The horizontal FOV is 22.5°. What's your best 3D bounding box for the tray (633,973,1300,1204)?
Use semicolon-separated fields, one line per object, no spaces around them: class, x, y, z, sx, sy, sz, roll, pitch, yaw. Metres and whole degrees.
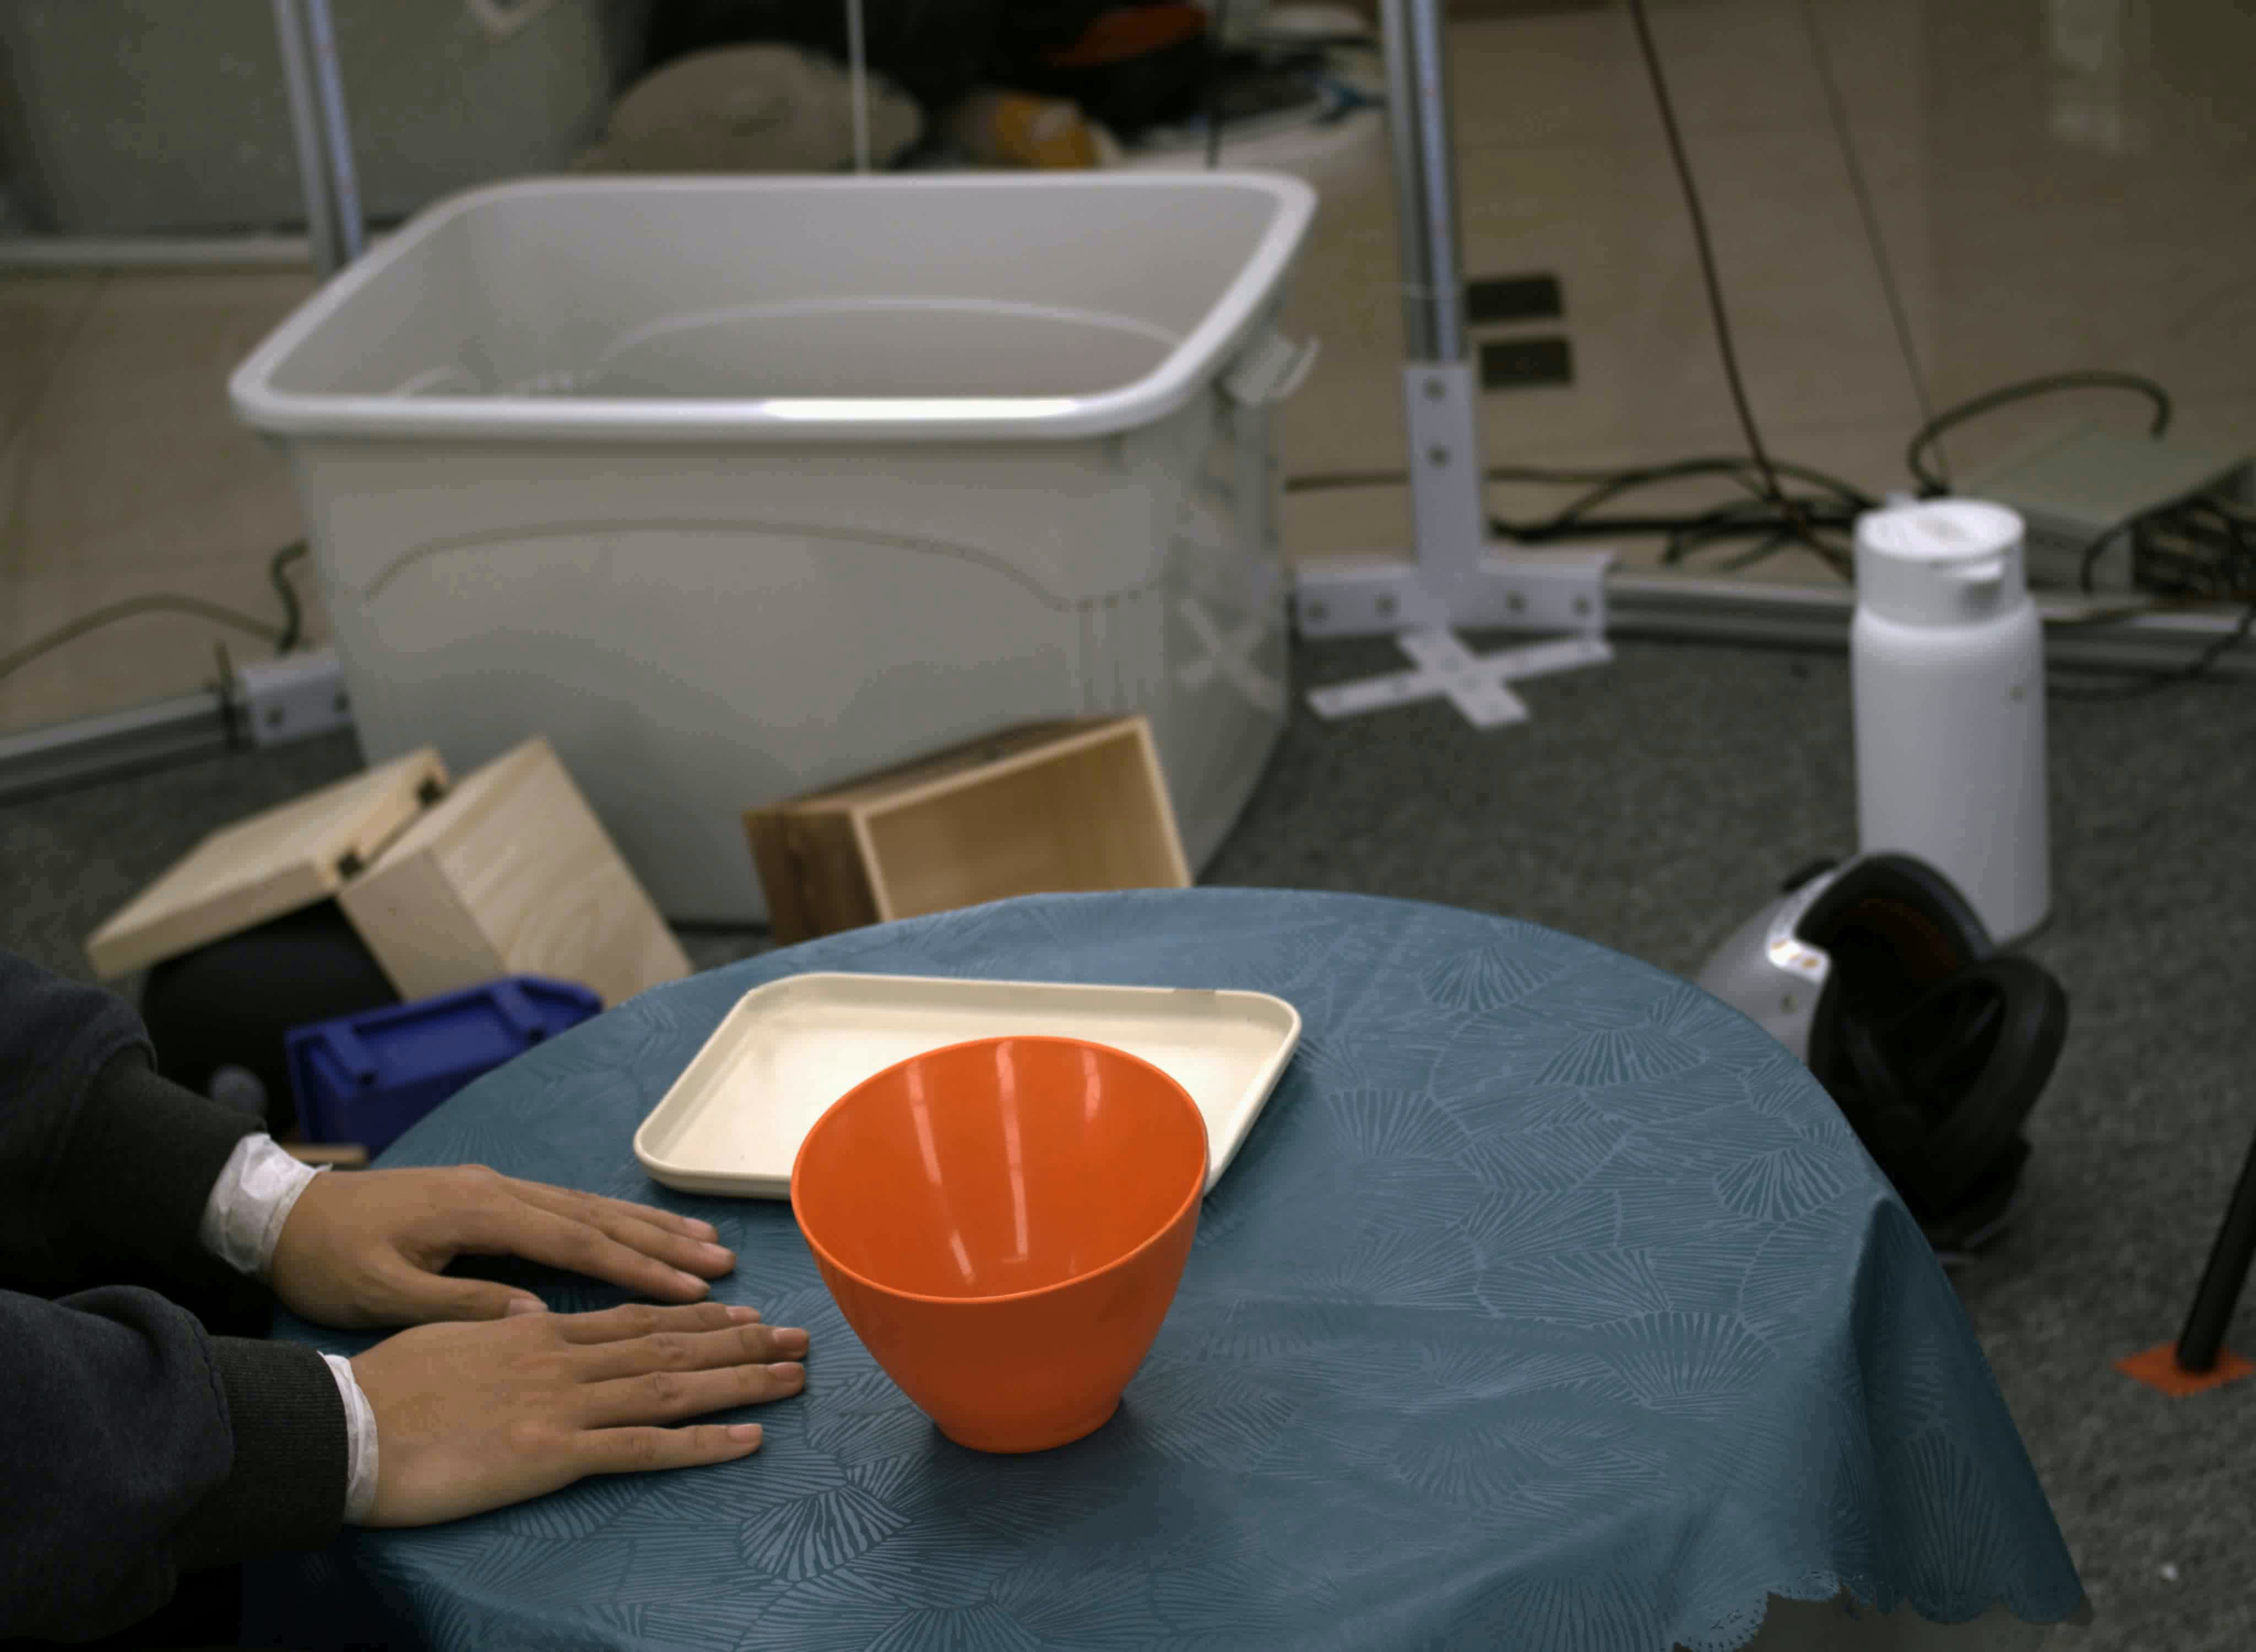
tray;-0.061;0.105;2.213;0.239;0.018;0.169;2;27;18

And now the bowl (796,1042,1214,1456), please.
bowl;-0.040;0.155;2.000;0.148;0.106;0.146;-4;25;2
